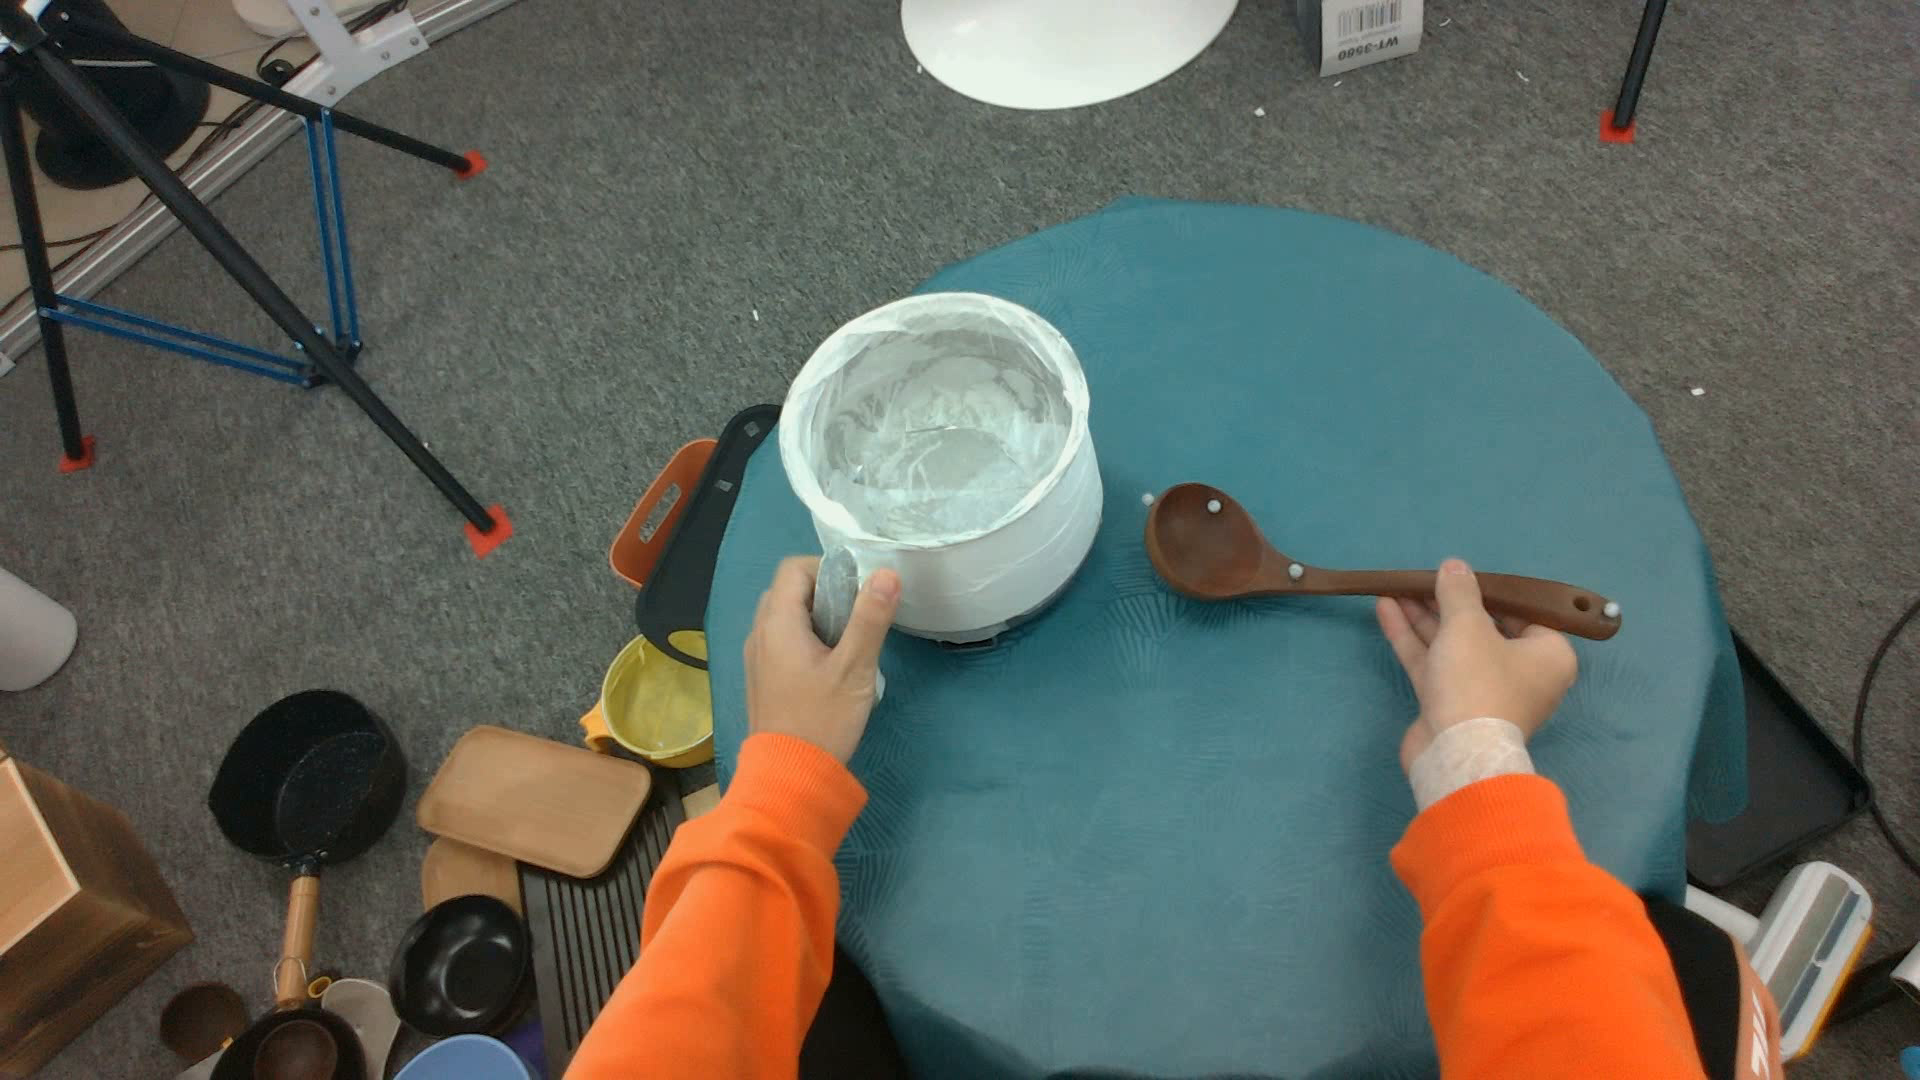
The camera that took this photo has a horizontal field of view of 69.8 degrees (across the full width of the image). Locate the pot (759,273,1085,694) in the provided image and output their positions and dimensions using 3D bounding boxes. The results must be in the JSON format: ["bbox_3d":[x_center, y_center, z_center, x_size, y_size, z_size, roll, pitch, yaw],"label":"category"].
[{"bbox_3d":[-0.029,-0.027,0.811,0.178,0.136,0.234,19,65,21],"label":"pot"}]

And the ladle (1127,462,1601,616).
[{"bbox_3d":[0.221,0.003,0.778,0.260,0.065,0.077,8,62,26],"label":"ladle"}]
